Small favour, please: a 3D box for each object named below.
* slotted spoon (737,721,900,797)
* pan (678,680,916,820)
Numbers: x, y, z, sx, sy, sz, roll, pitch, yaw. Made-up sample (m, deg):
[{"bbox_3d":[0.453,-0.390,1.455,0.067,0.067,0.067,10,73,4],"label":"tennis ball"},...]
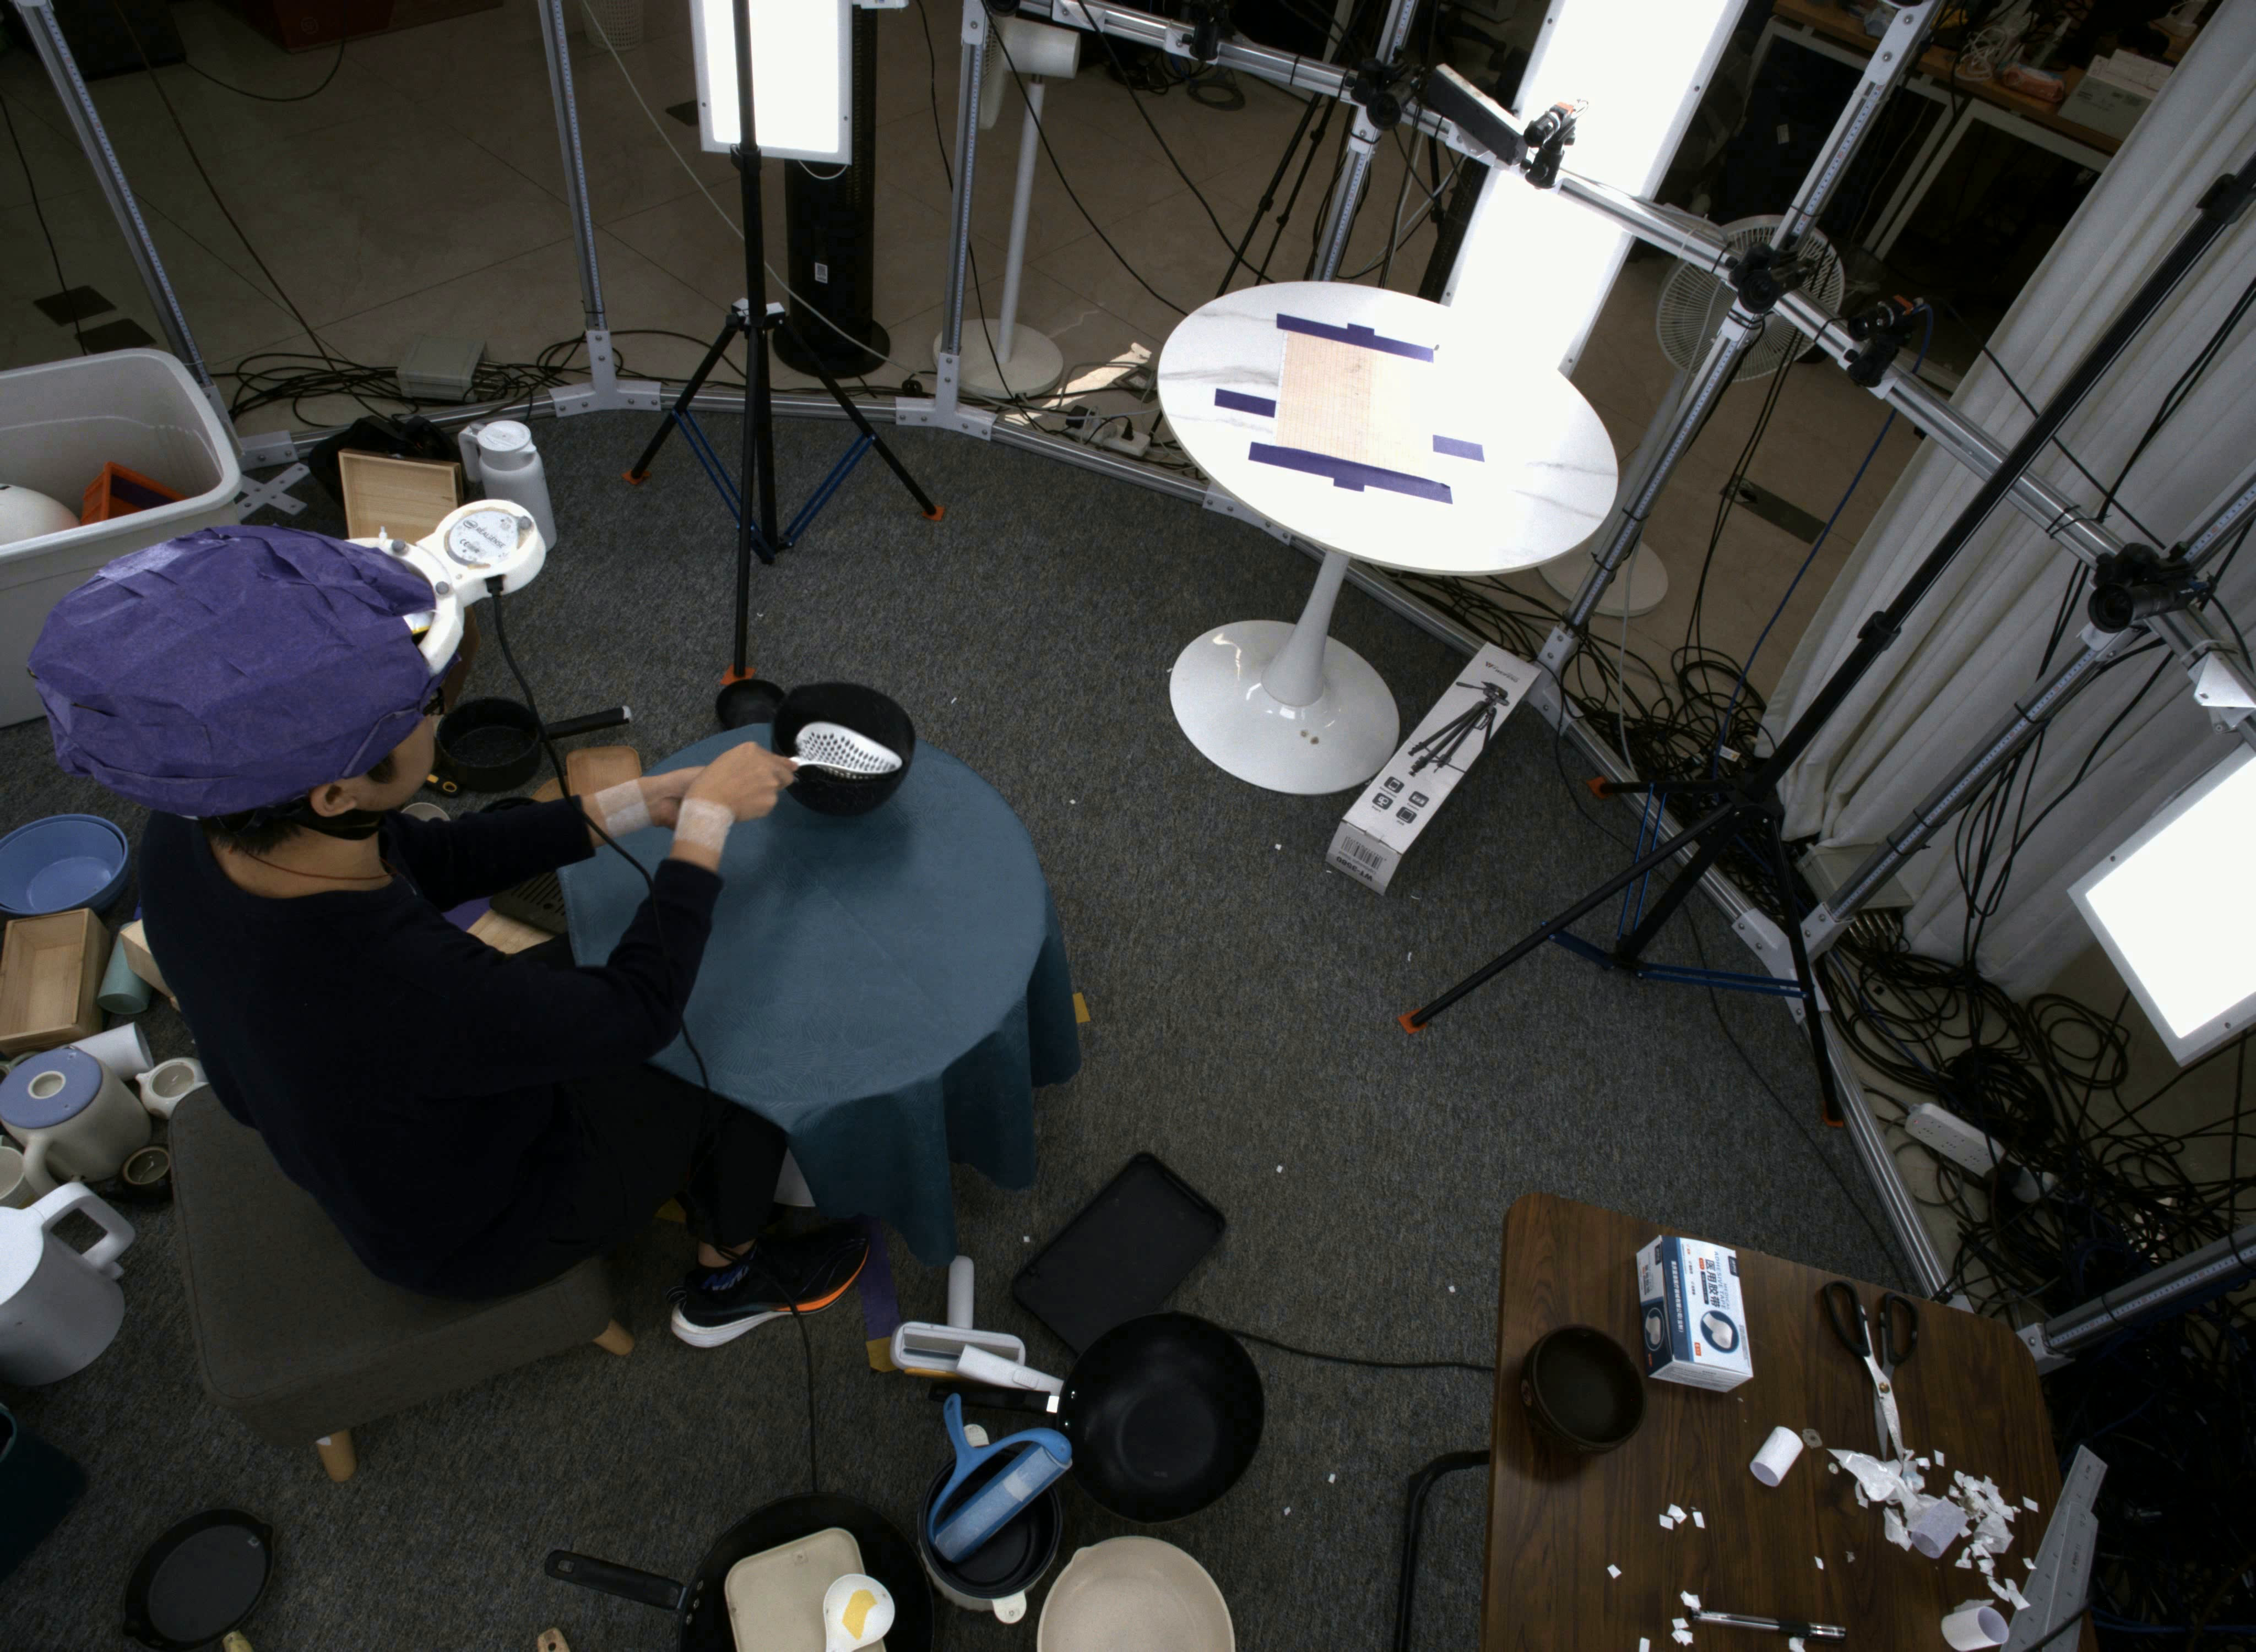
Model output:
[{"bbox_3d":[-0.394,-0.076,1.599,0.135,0.051,0.348,28,10,7],"label":"slotted spoon"},{"bbox_3d":[-0.421,-0.066,1.634,0.204,0.110,0.344,42,46,14],"label":"pan"}]
